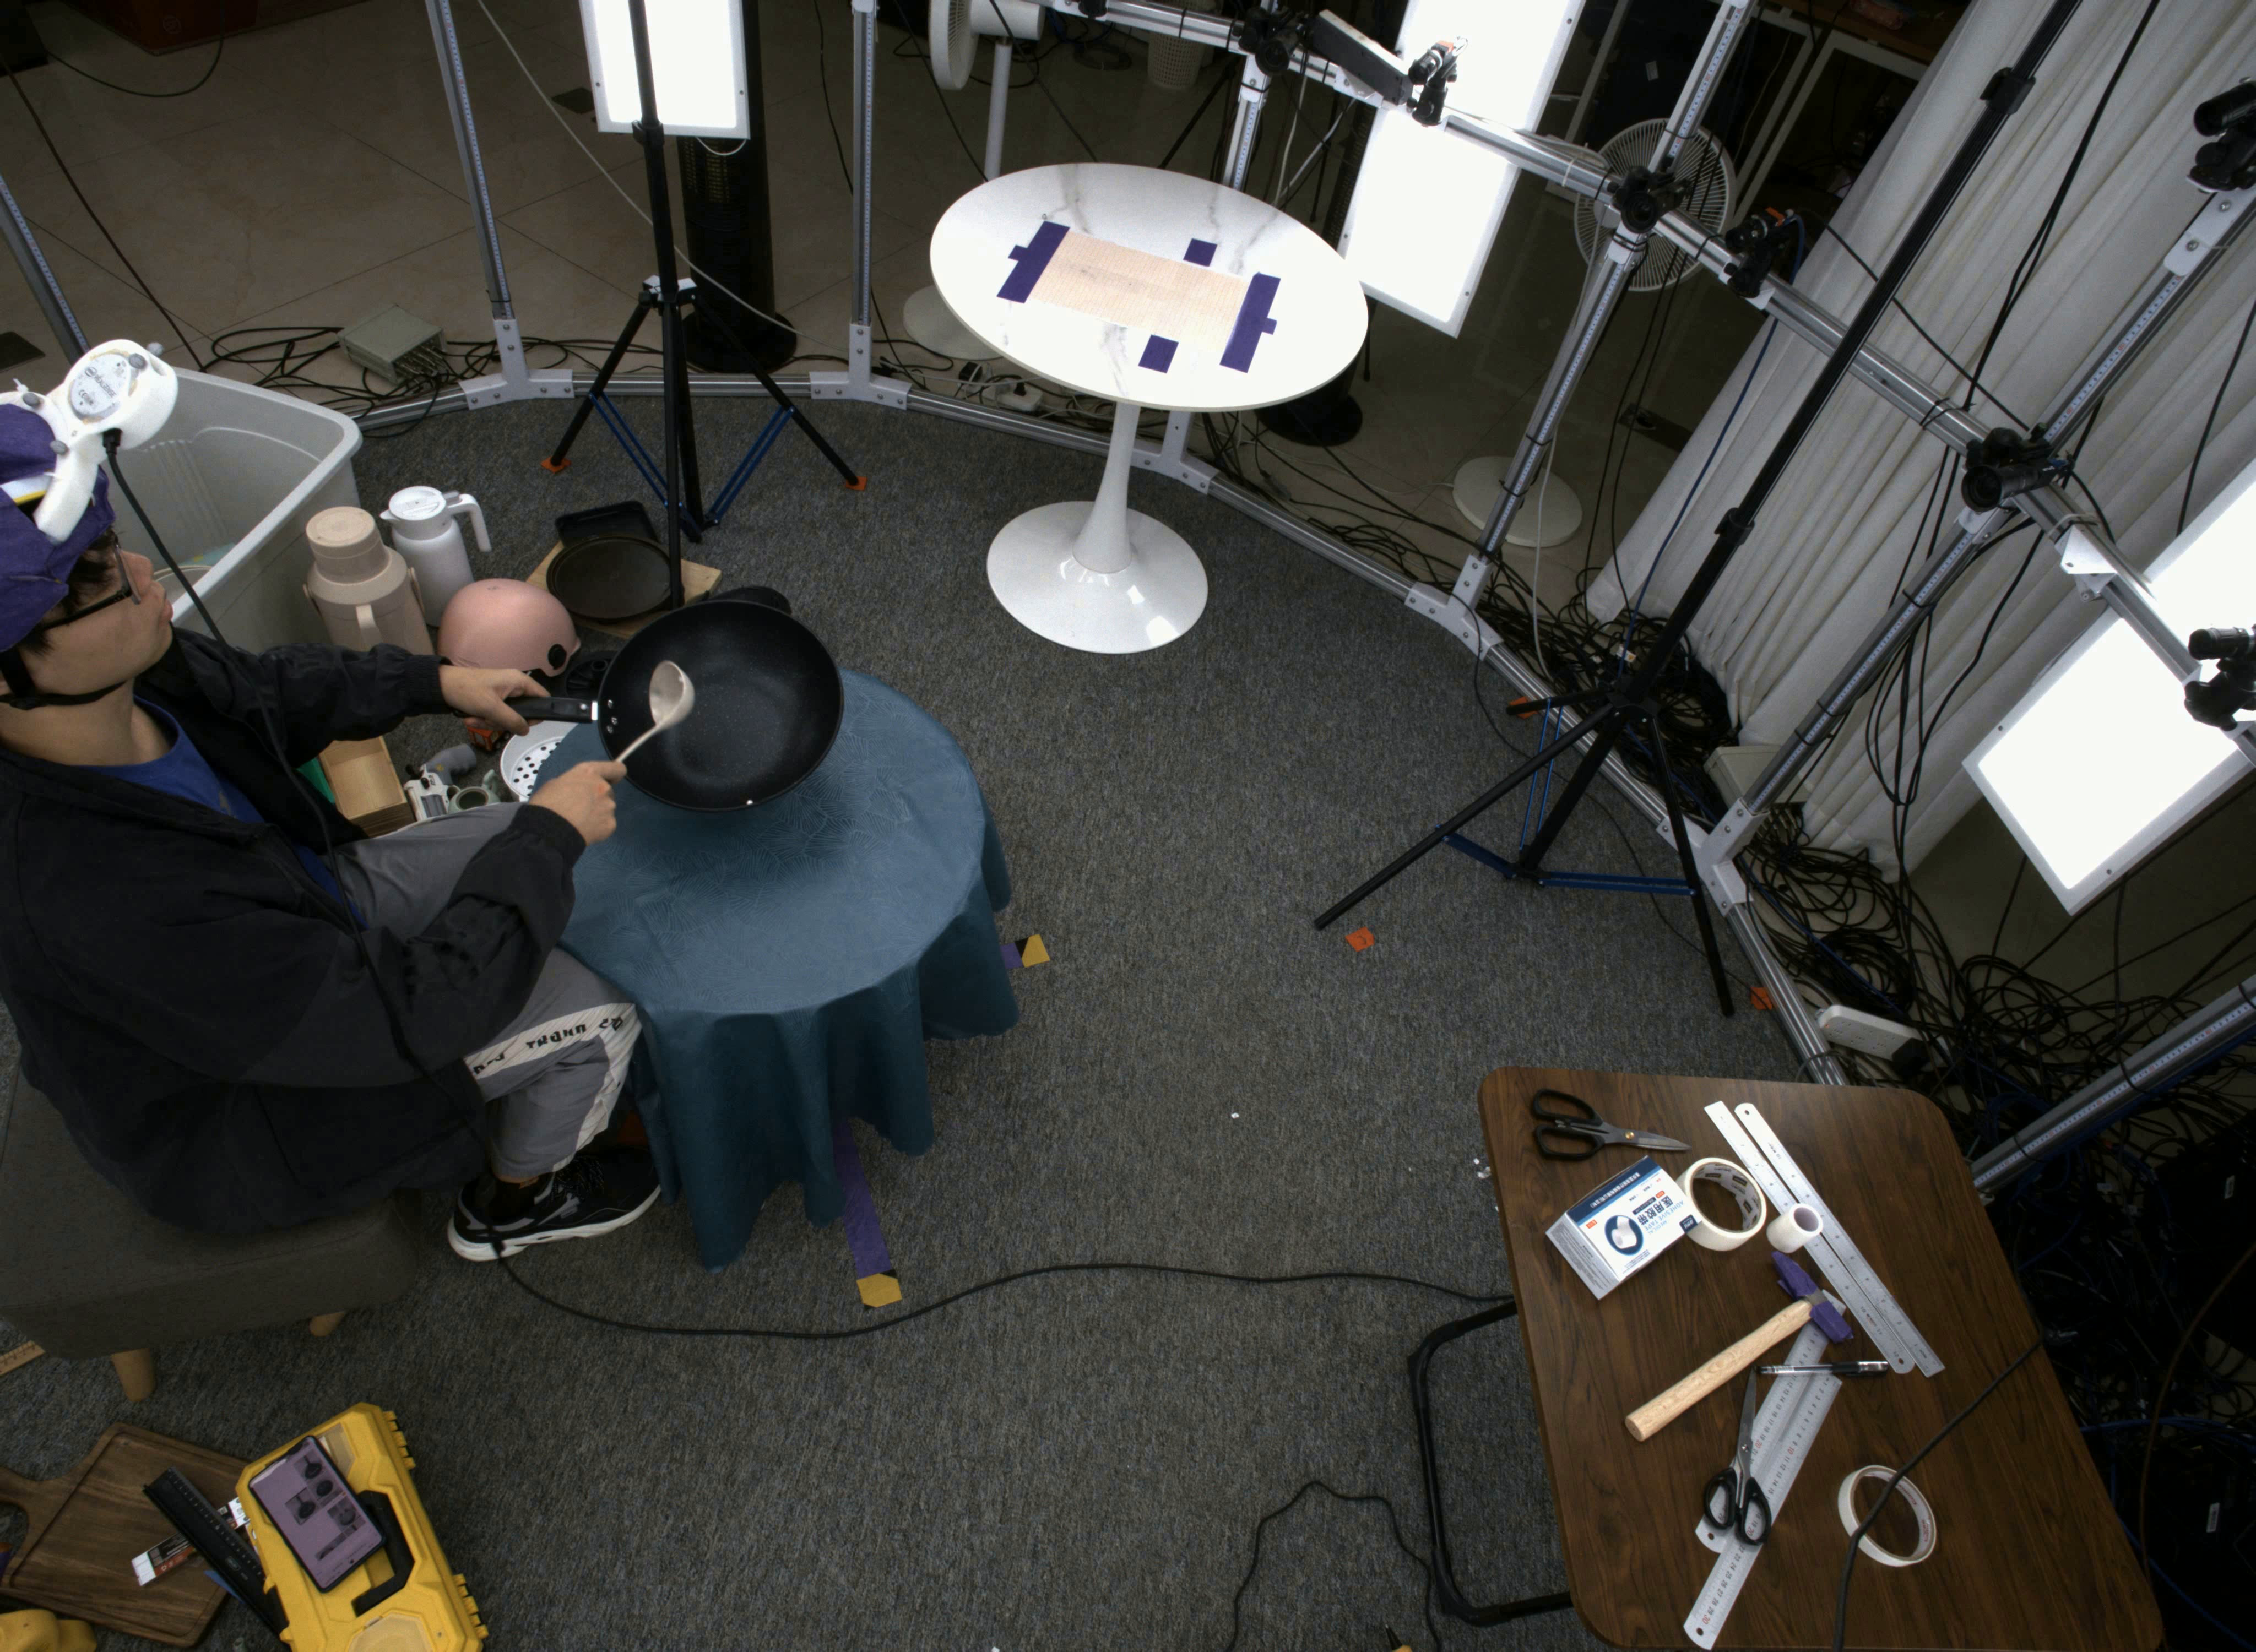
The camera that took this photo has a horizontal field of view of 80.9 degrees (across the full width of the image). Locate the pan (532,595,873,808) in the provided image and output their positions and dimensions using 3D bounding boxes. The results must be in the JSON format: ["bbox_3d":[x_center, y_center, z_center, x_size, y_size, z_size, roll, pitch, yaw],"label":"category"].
[{"bbox_3d":[-0.568,-0.150,1.668,0.476,0.113,0.306,-3,67,-11],"label":"pan"}]

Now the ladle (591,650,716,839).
[{"bbox_3d":[-0.596,-0.104,1.557,0.071,0.088,0.273,45,50,-19],"label":"ladle"}]
